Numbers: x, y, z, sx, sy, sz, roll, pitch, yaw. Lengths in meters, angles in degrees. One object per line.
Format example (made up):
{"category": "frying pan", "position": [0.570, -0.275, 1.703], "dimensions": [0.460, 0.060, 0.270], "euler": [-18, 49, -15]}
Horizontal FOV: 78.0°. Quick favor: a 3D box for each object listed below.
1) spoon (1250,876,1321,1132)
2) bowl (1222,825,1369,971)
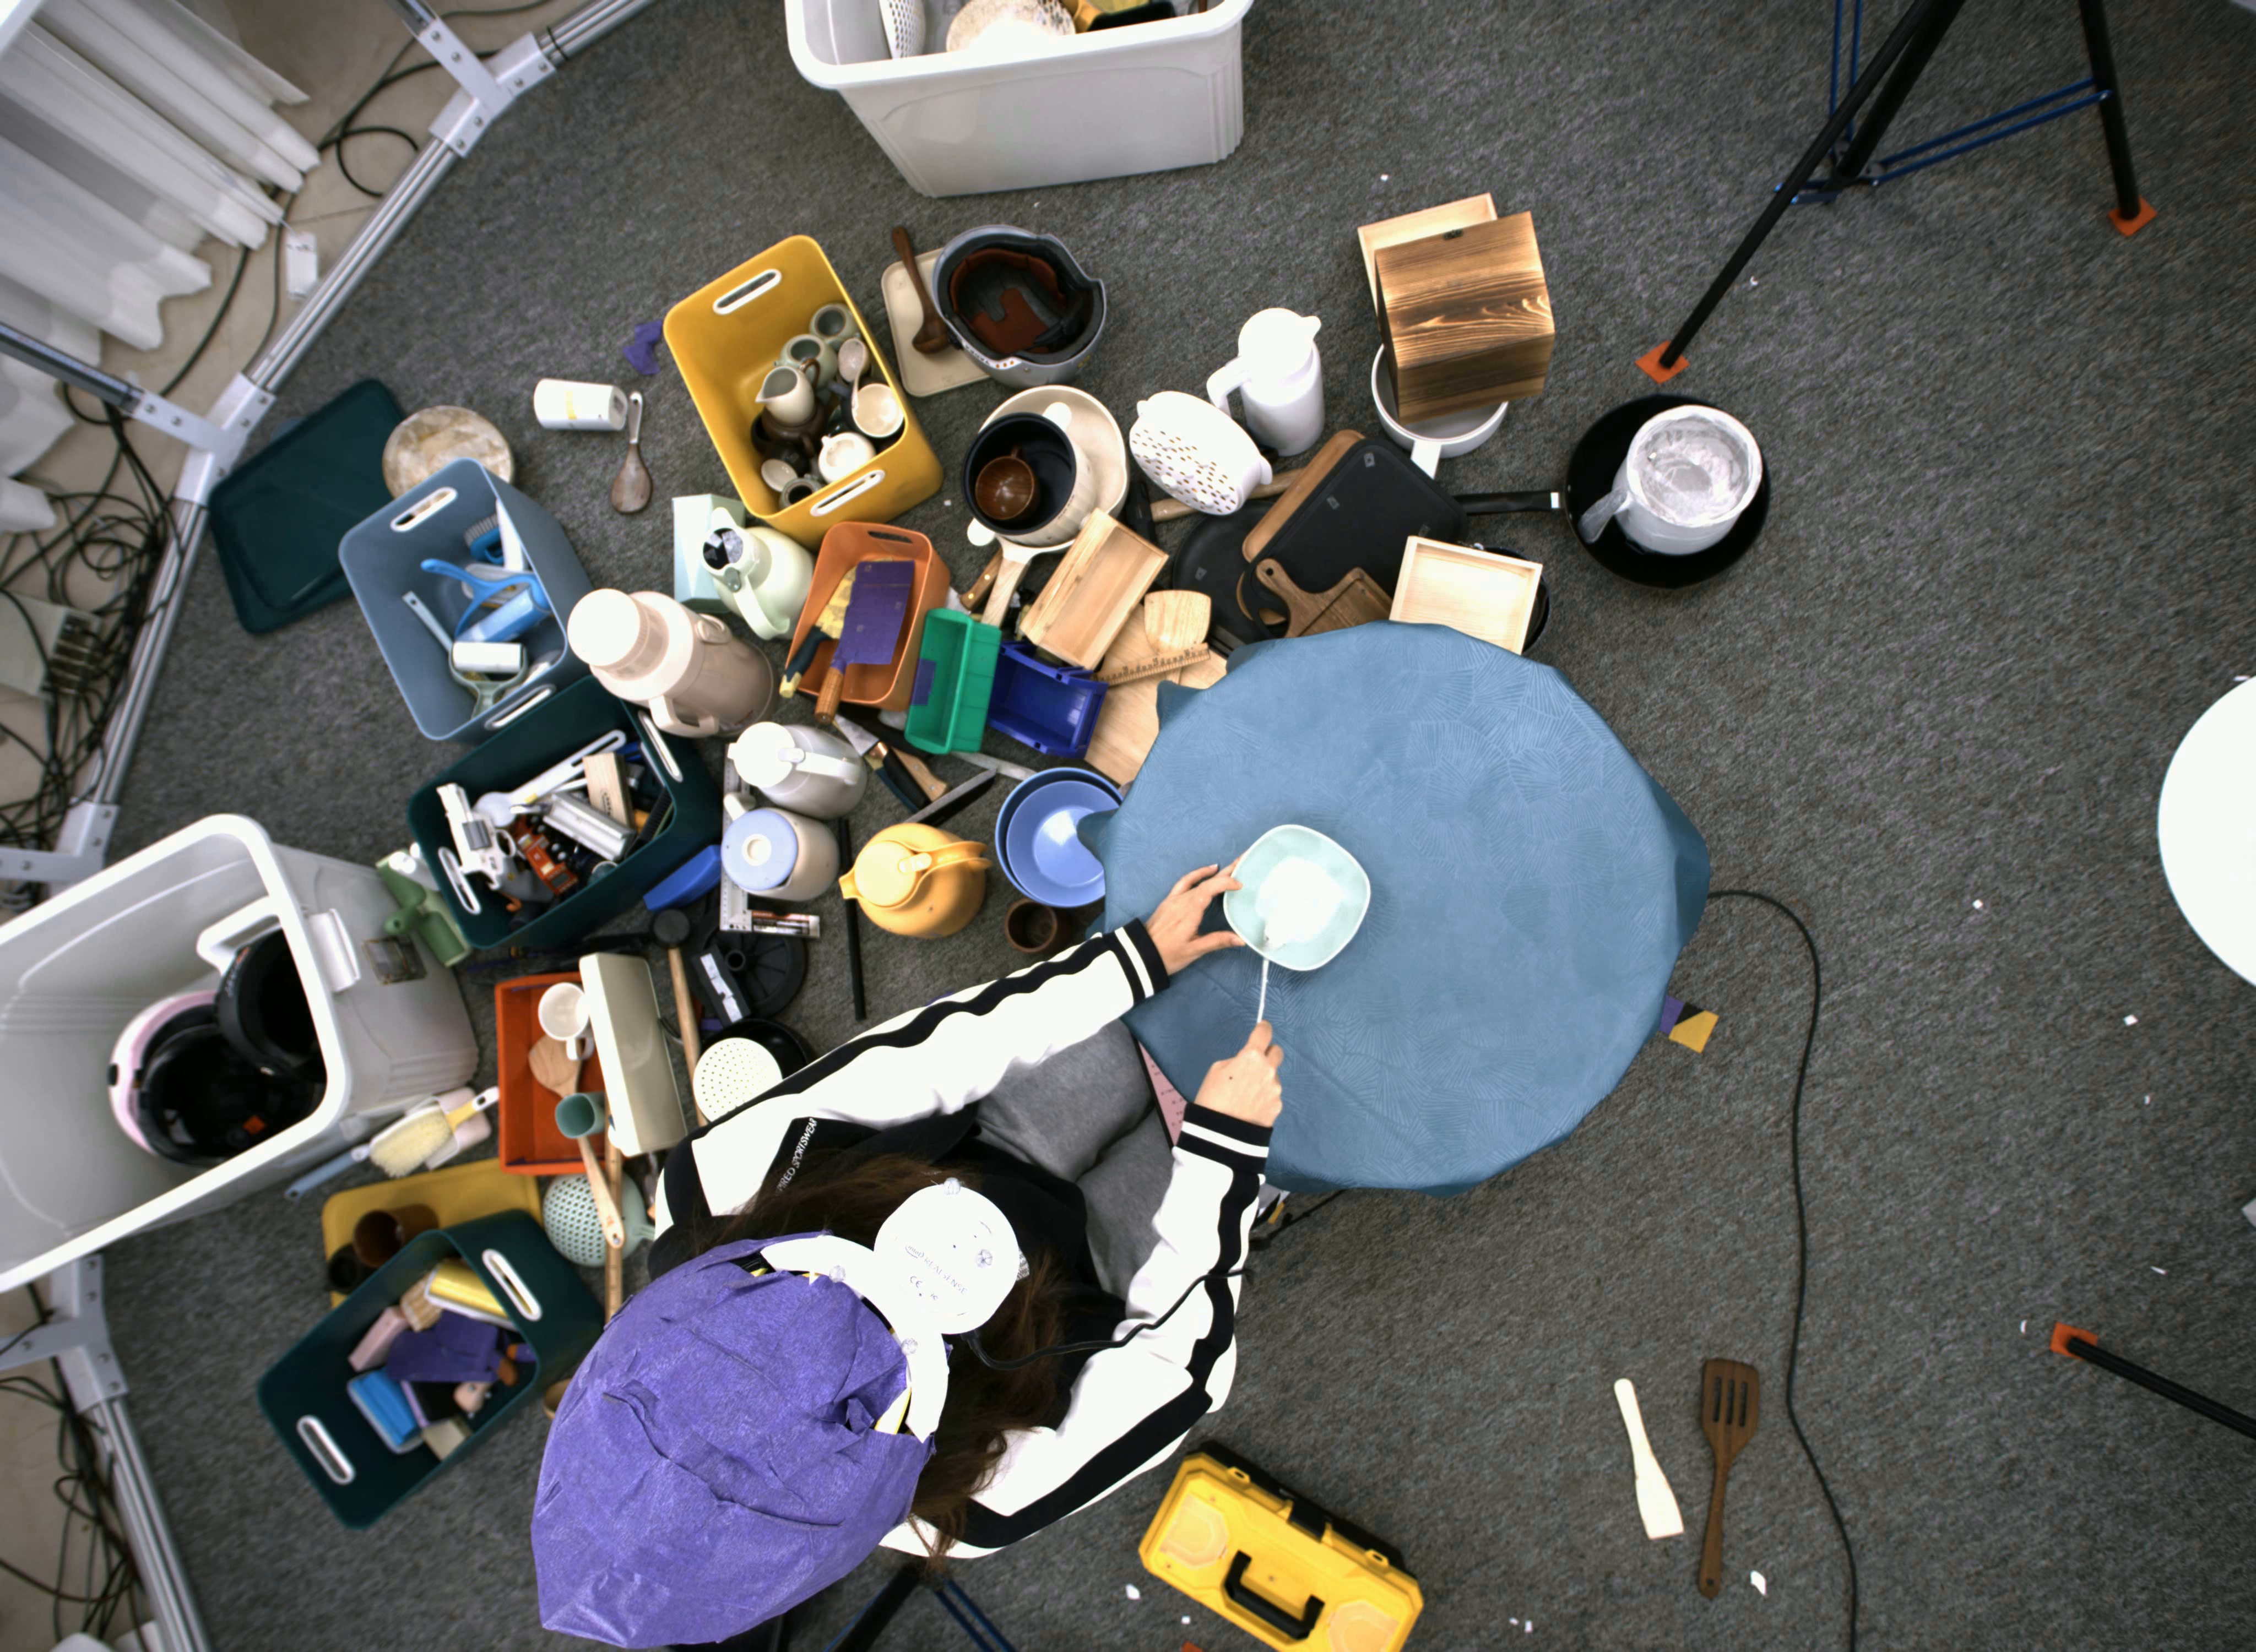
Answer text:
{"category": "spoon", "position": [0.157, 0.171, 1.370], "dimensions": [0.059, 0.103, 0.270], "euler": [2, 58, 7]}
{"category": "bowl", "position": [0.176, 0.076, 1.451], "dimensions": [0.152, 0.058, 0.151], "euler": [-1, 86, 10]}
